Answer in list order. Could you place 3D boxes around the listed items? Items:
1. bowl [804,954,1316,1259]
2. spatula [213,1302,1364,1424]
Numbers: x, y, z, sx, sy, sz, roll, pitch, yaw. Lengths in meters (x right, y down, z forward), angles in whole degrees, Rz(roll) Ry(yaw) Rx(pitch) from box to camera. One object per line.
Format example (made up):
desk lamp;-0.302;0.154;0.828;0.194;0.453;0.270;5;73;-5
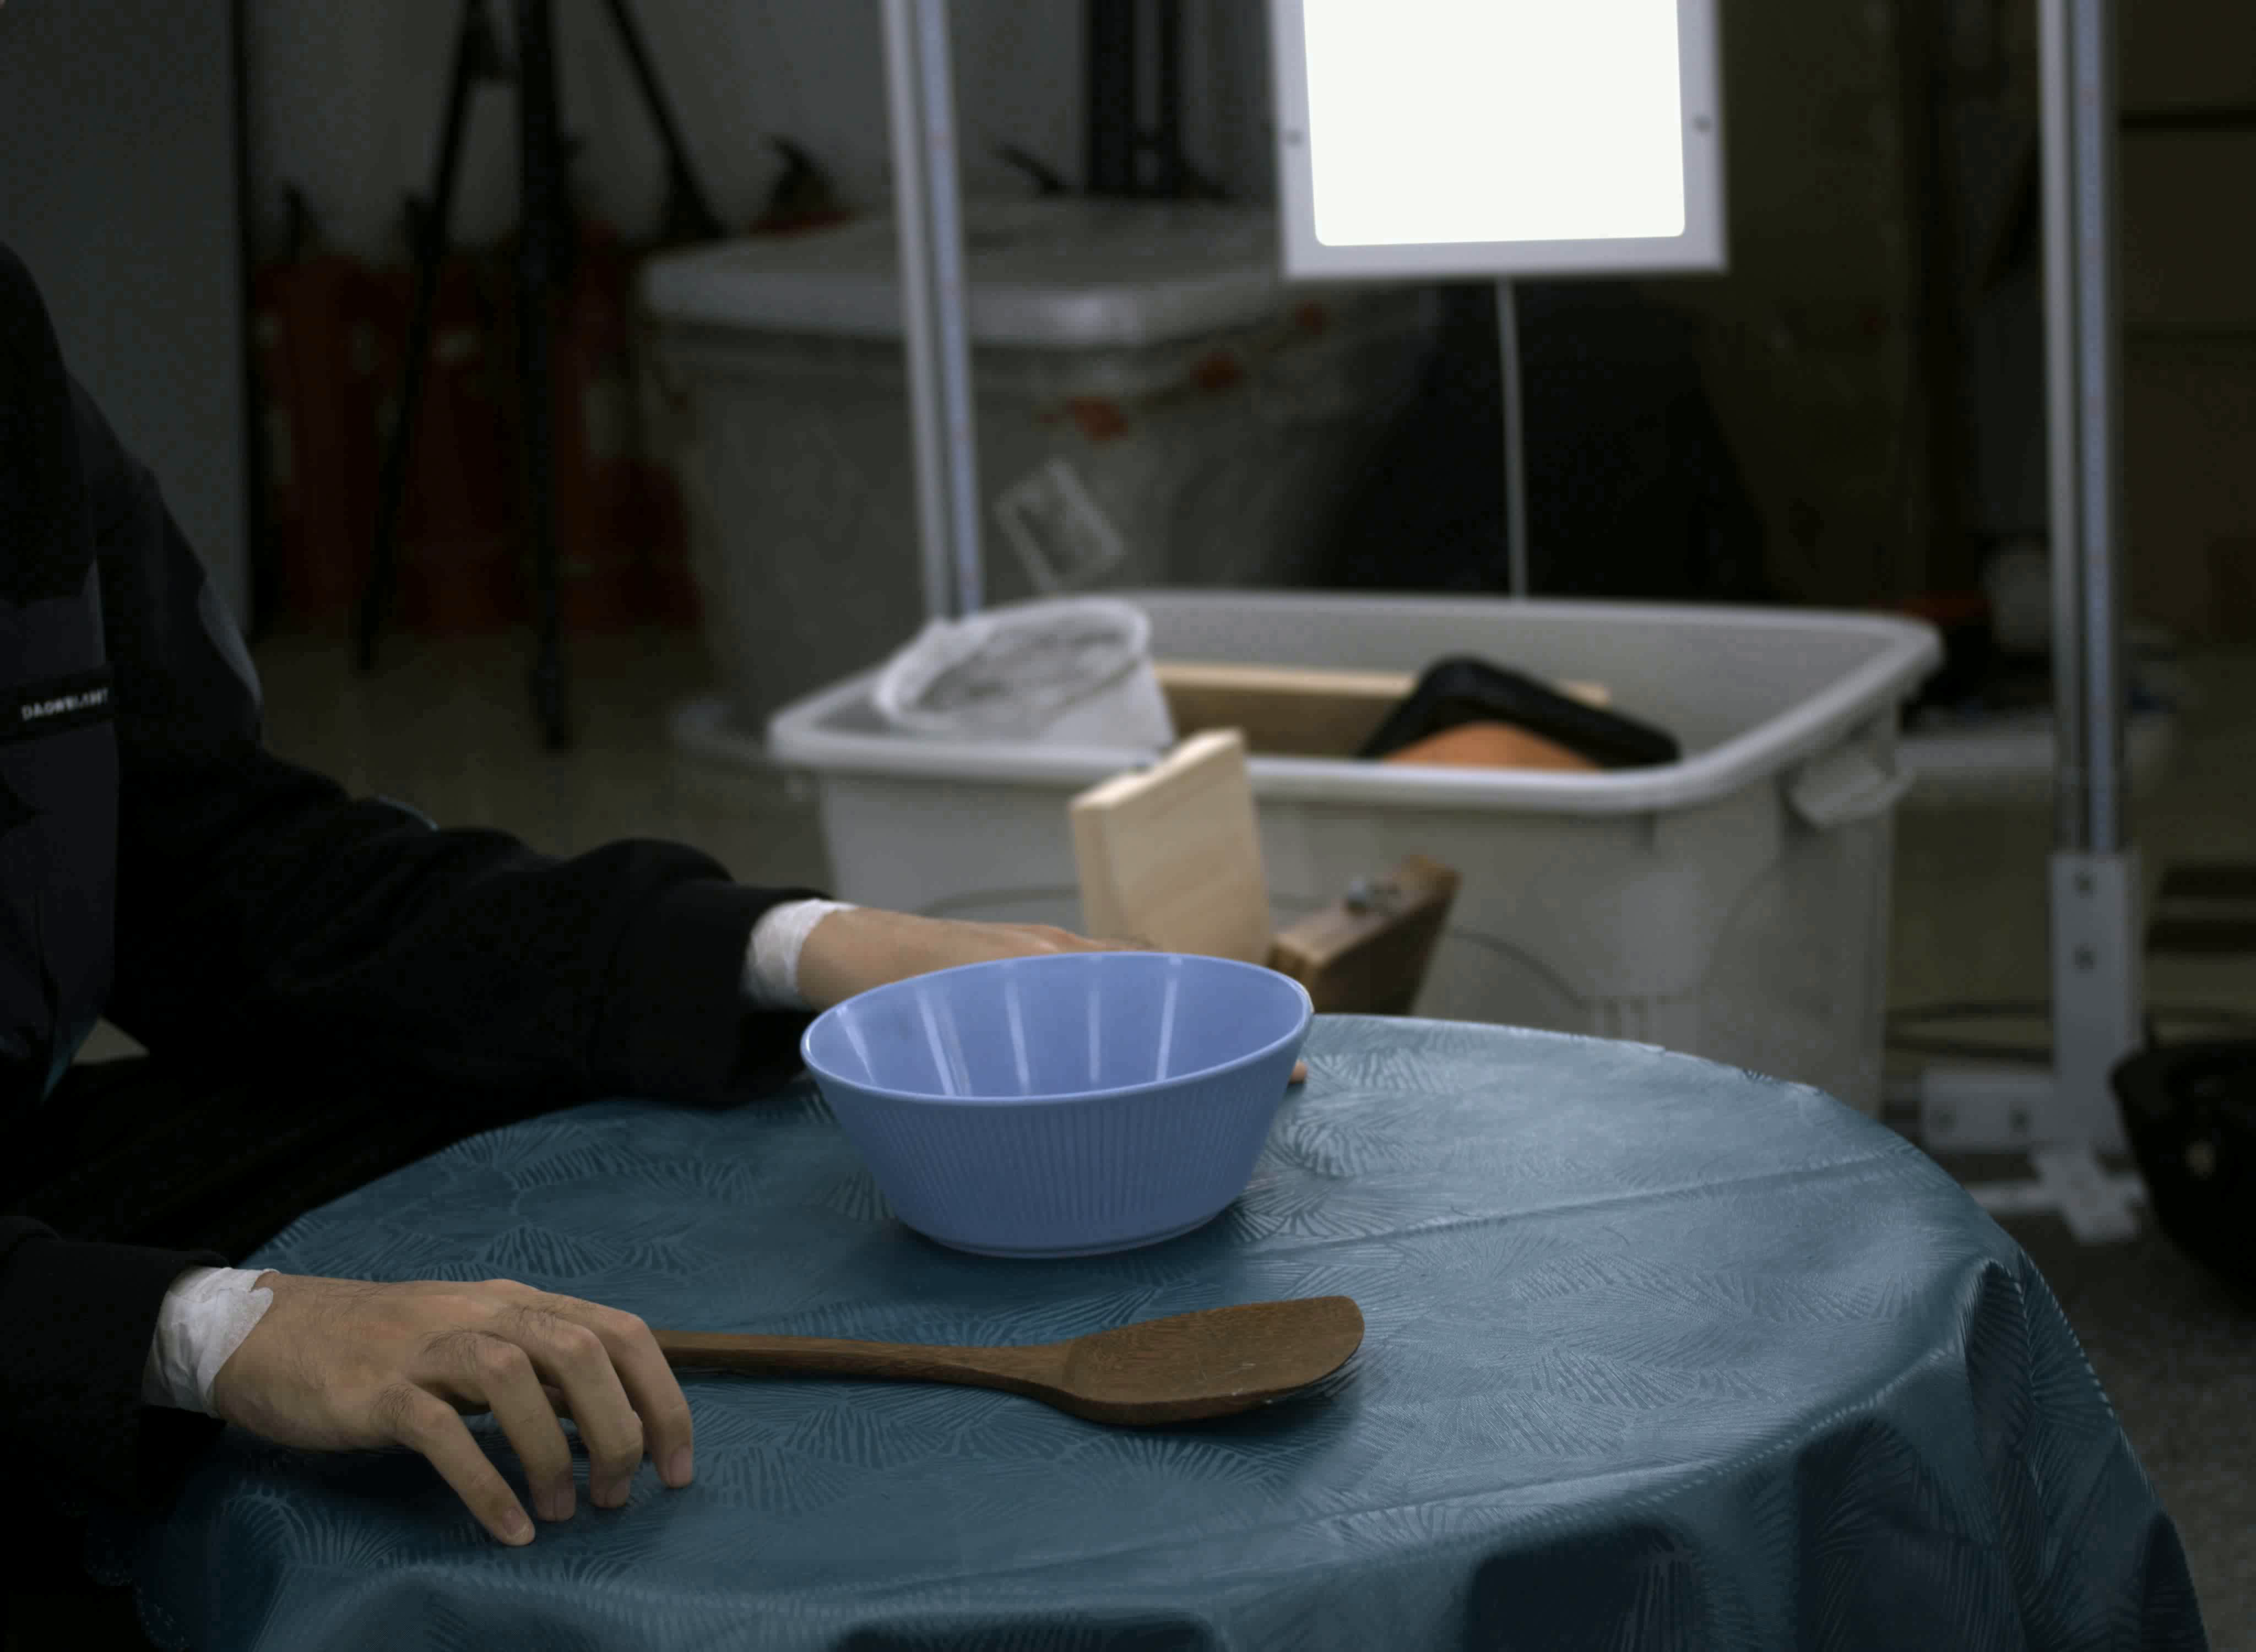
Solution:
bowl;-0.020;0.098;1.876;0.175;0.070;0.176;-6;13;0
spatula;-0.114;0.167;1.746;0.390;0.016;0.094;0;14;19
